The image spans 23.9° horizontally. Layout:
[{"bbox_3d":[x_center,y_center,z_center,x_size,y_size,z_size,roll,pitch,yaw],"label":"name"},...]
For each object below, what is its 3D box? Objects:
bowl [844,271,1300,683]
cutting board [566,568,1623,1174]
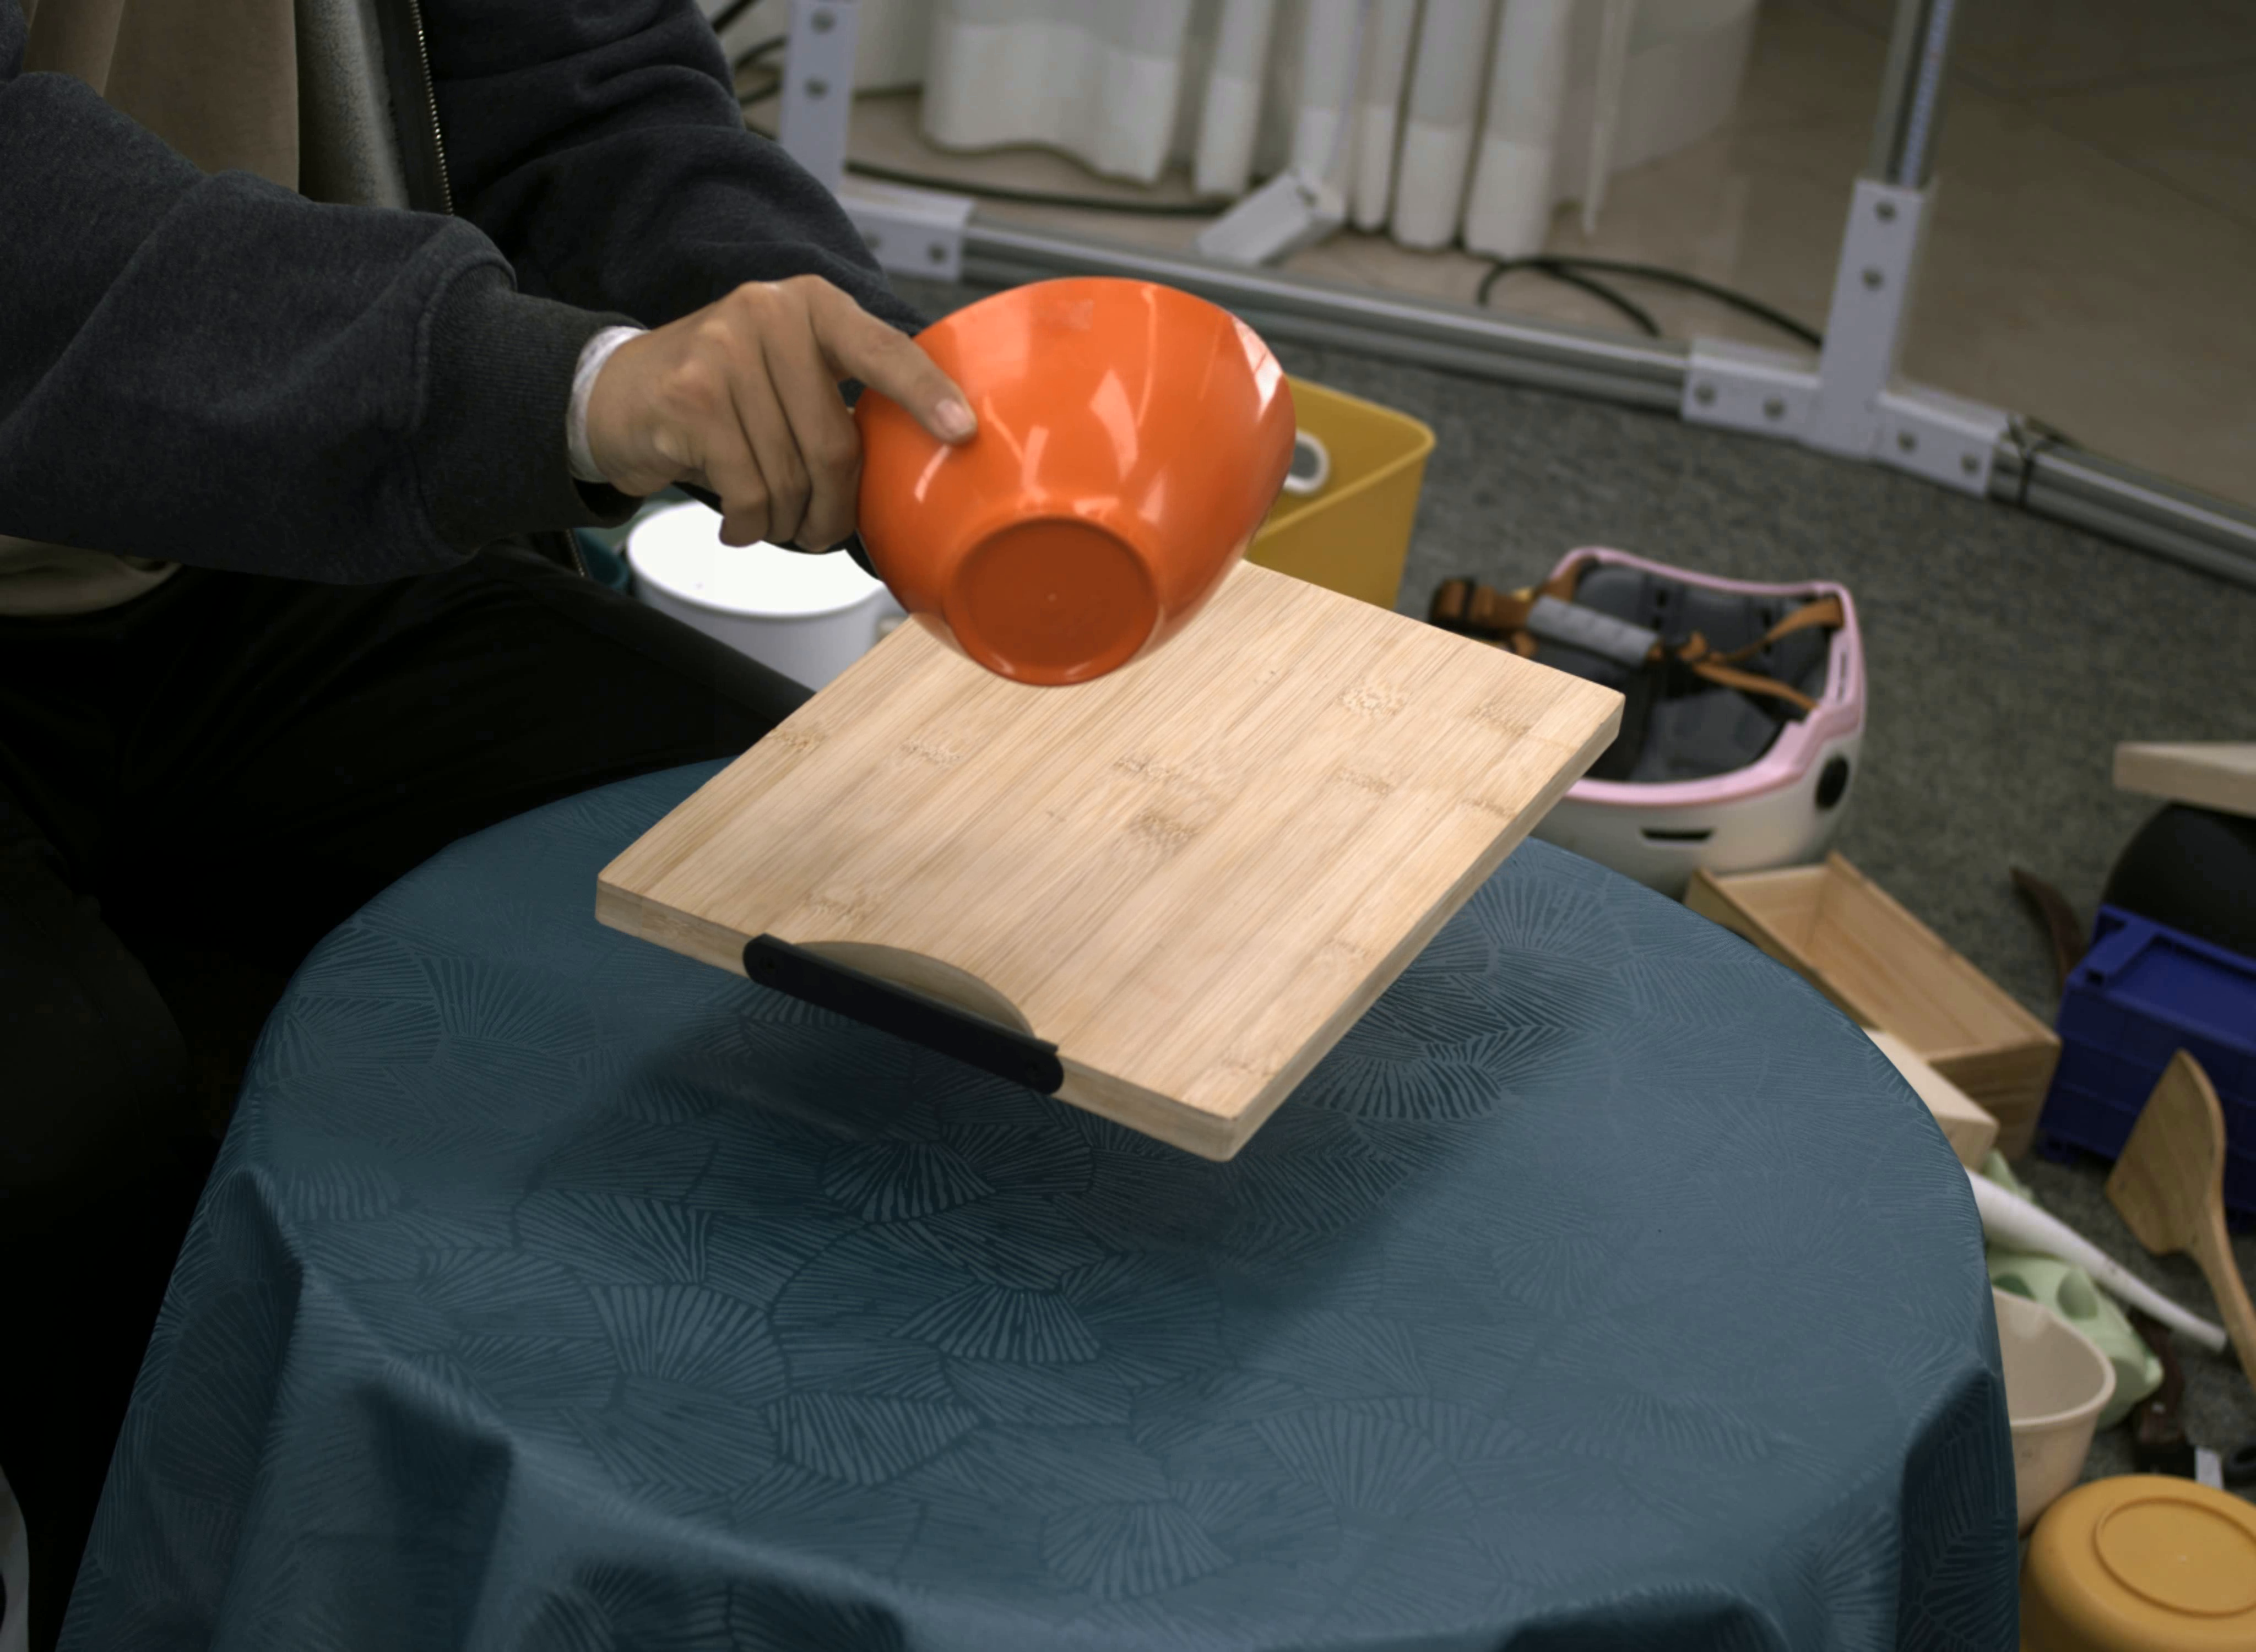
[{"bbox_3d":[-0.017,-0.095,1.683,0.147,0.147,0.105,5,38,-4],"label":"bowl"},{"bbox_3d":[-0.002,-0.005,1.865,0.251,0.023,0.348,19,33,19],"label":"cutting board"}]
